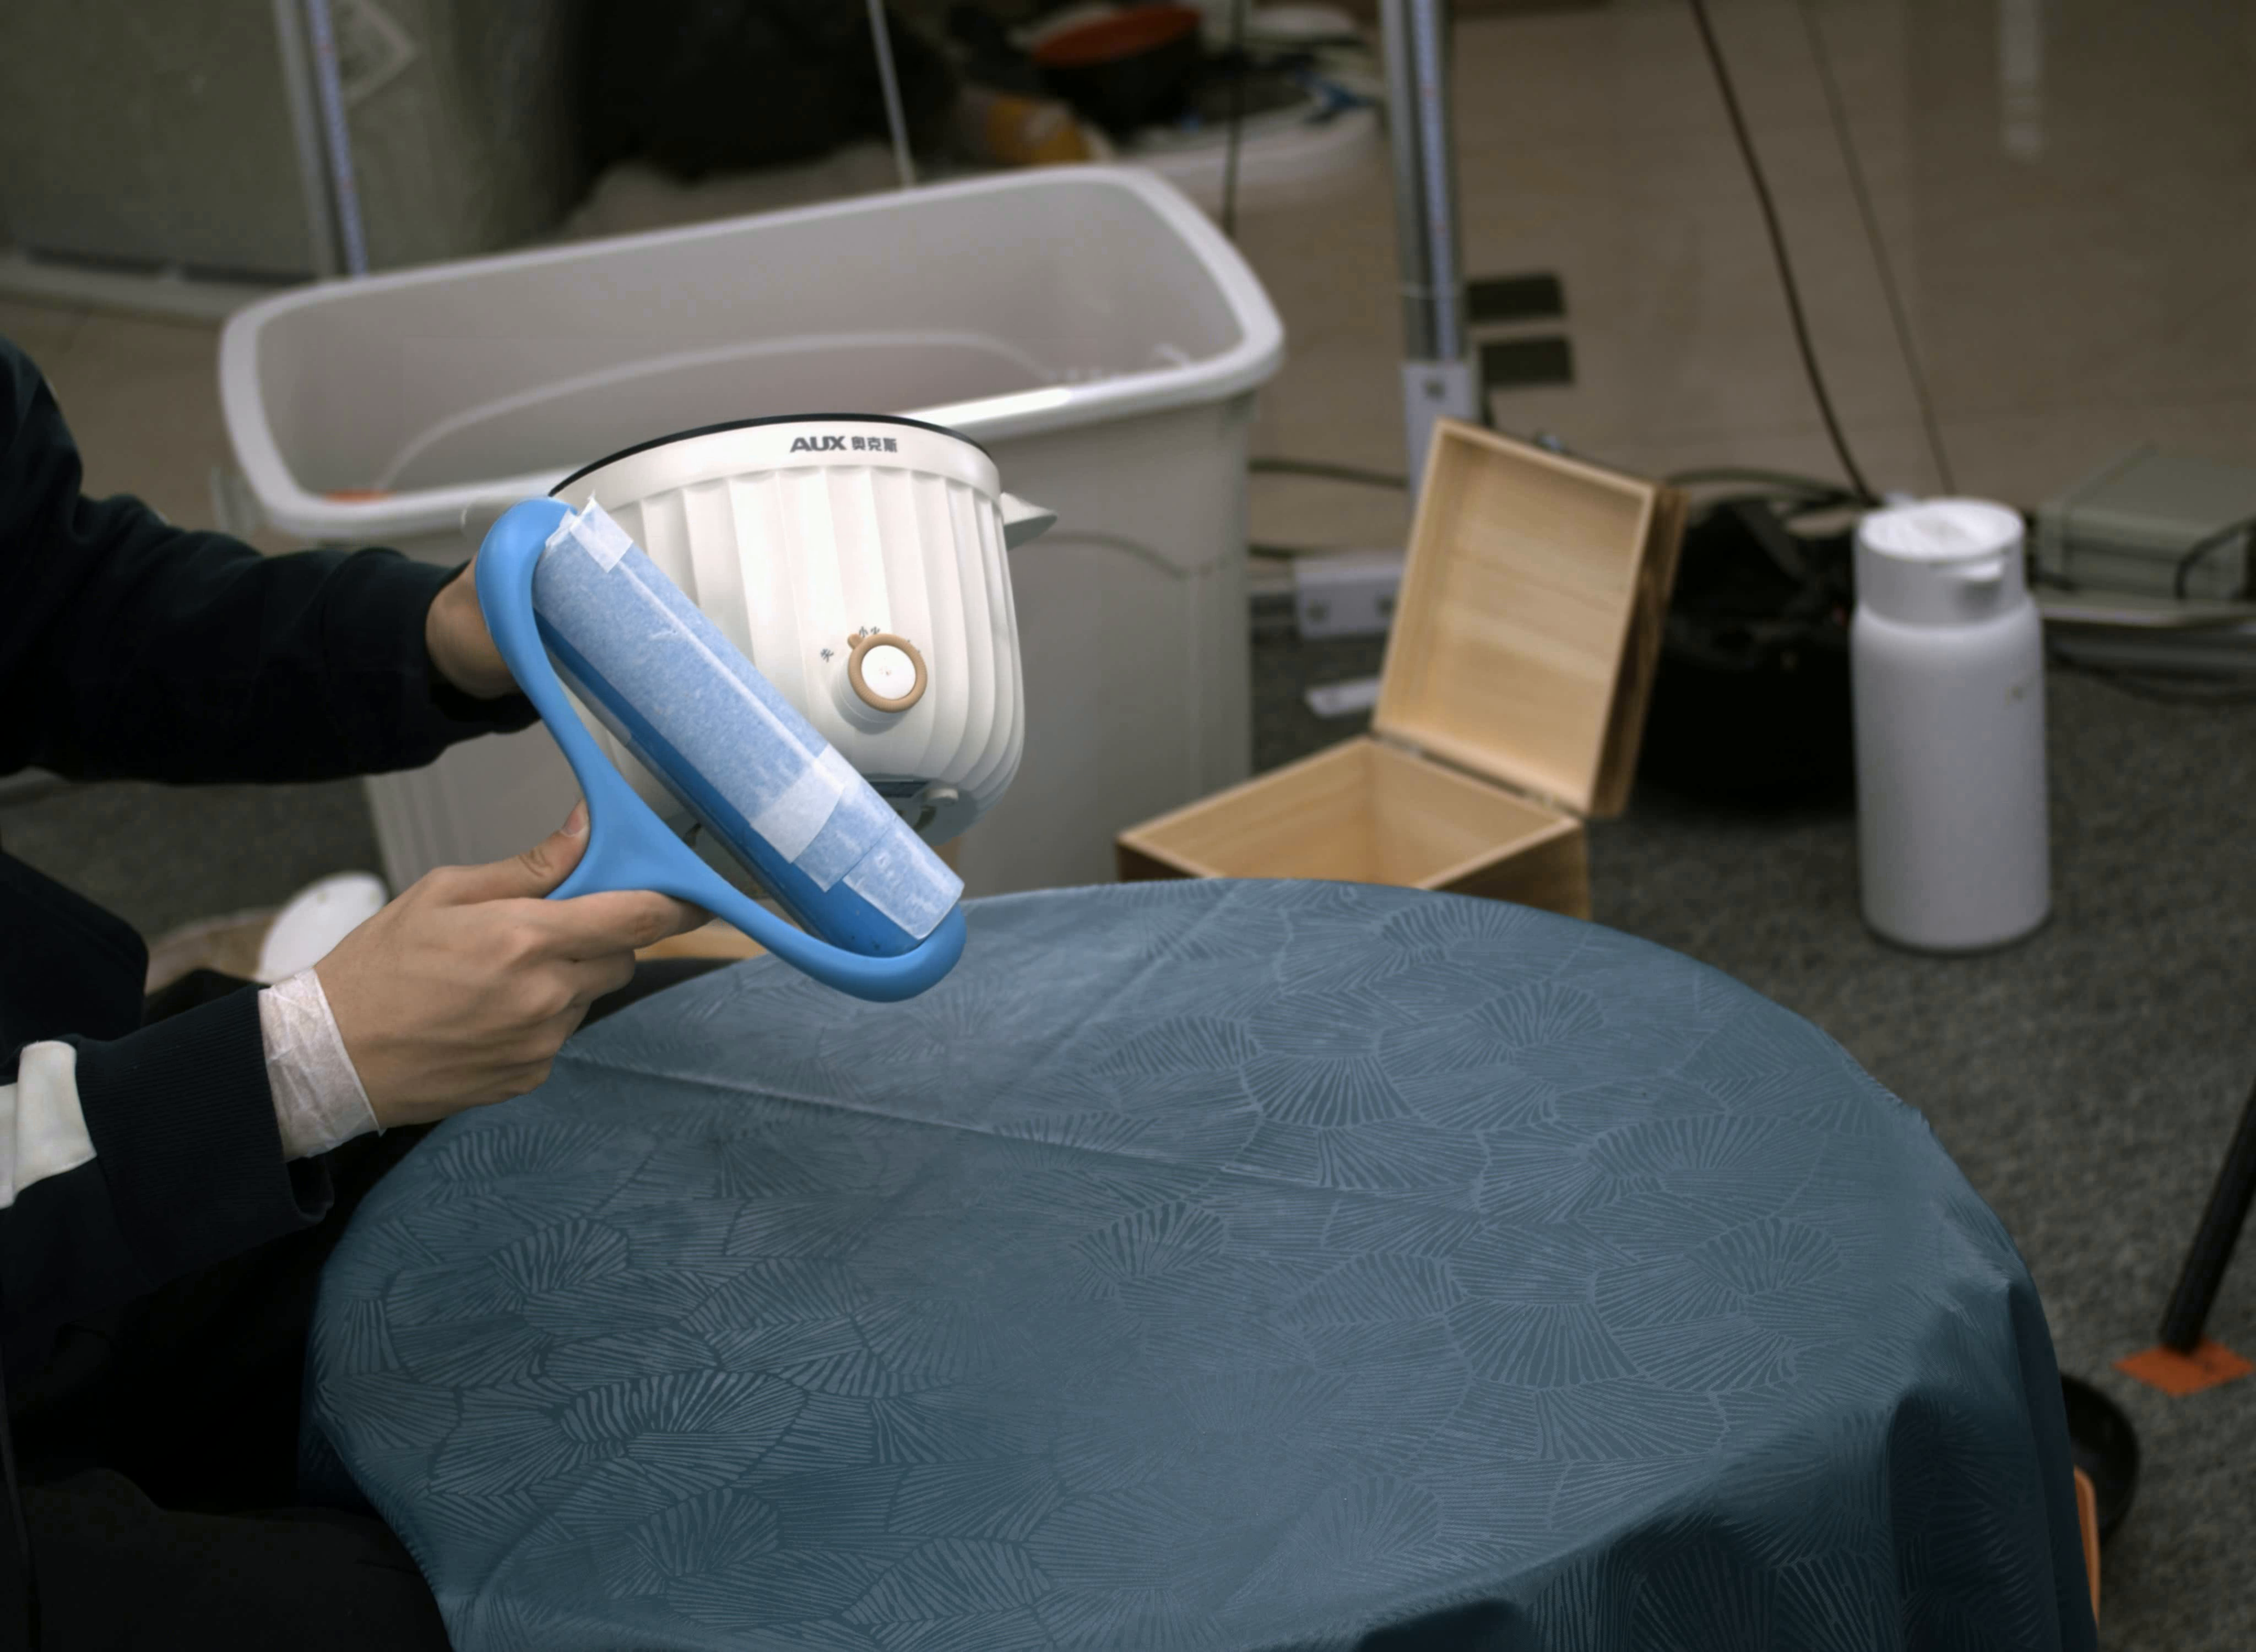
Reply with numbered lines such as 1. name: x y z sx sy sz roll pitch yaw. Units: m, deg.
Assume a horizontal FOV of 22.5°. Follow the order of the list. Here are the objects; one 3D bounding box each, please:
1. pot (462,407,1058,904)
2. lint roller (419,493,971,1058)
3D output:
1. pot: -0.125 -0.063 2.132 0.240 0.141 0.192 -3 -20 -25
2. lint roller: -0.178 0.012 1.999 0.179 0.230 0.068 -51 14 -16
